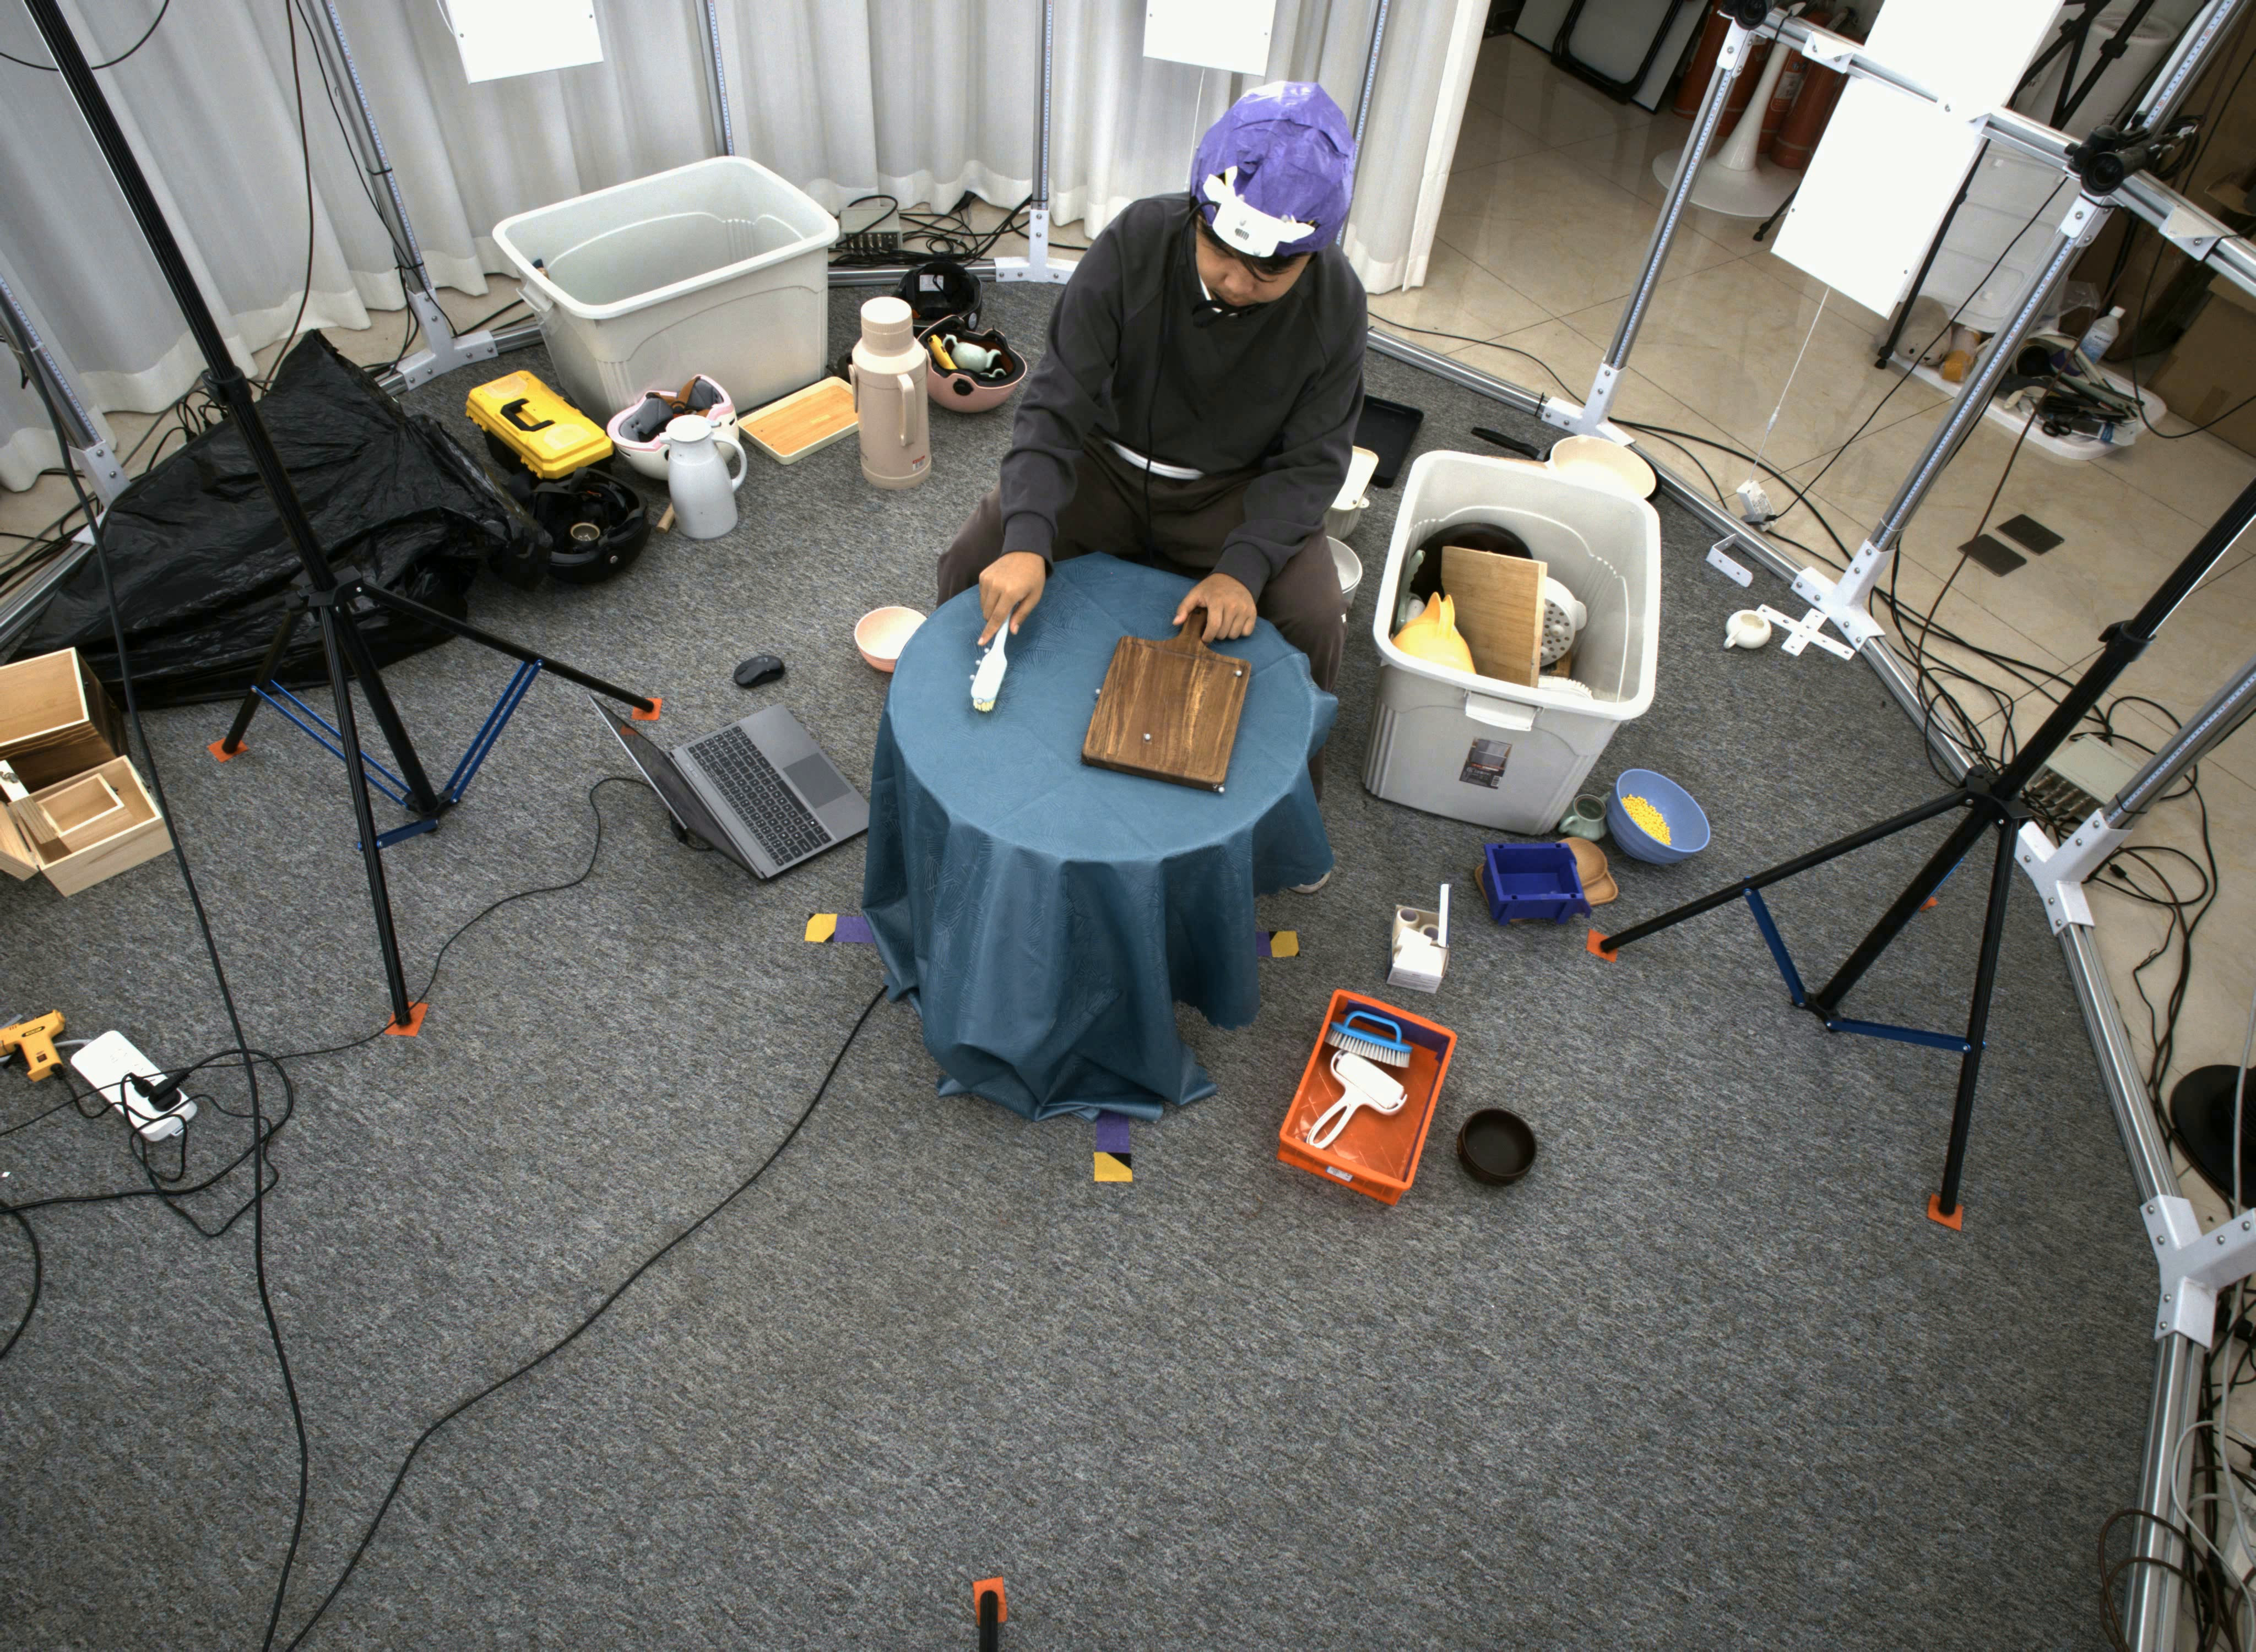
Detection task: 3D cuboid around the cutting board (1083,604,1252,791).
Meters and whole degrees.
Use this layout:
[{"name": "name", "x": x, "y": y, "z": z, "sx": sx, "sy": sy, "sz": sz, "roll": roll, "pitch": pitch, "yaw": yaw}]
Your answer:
[{"name": "cutting board", "x": 0.071, "y": -0.199, "z": 1.830, "sx": 0.201, "sy": 0.022, "sz": 0.360, "roll": 12, "pitch": 49, "yaw": 6}]

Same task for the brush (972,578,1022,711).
[{"name": "brush", "x": -0.183, "y": -0.263, "z": 1.835, "sx": 0.038, "sy": 0.048, "sz": 0.233, "roll": 9, "pitch": 60, "yaw": 1}]
